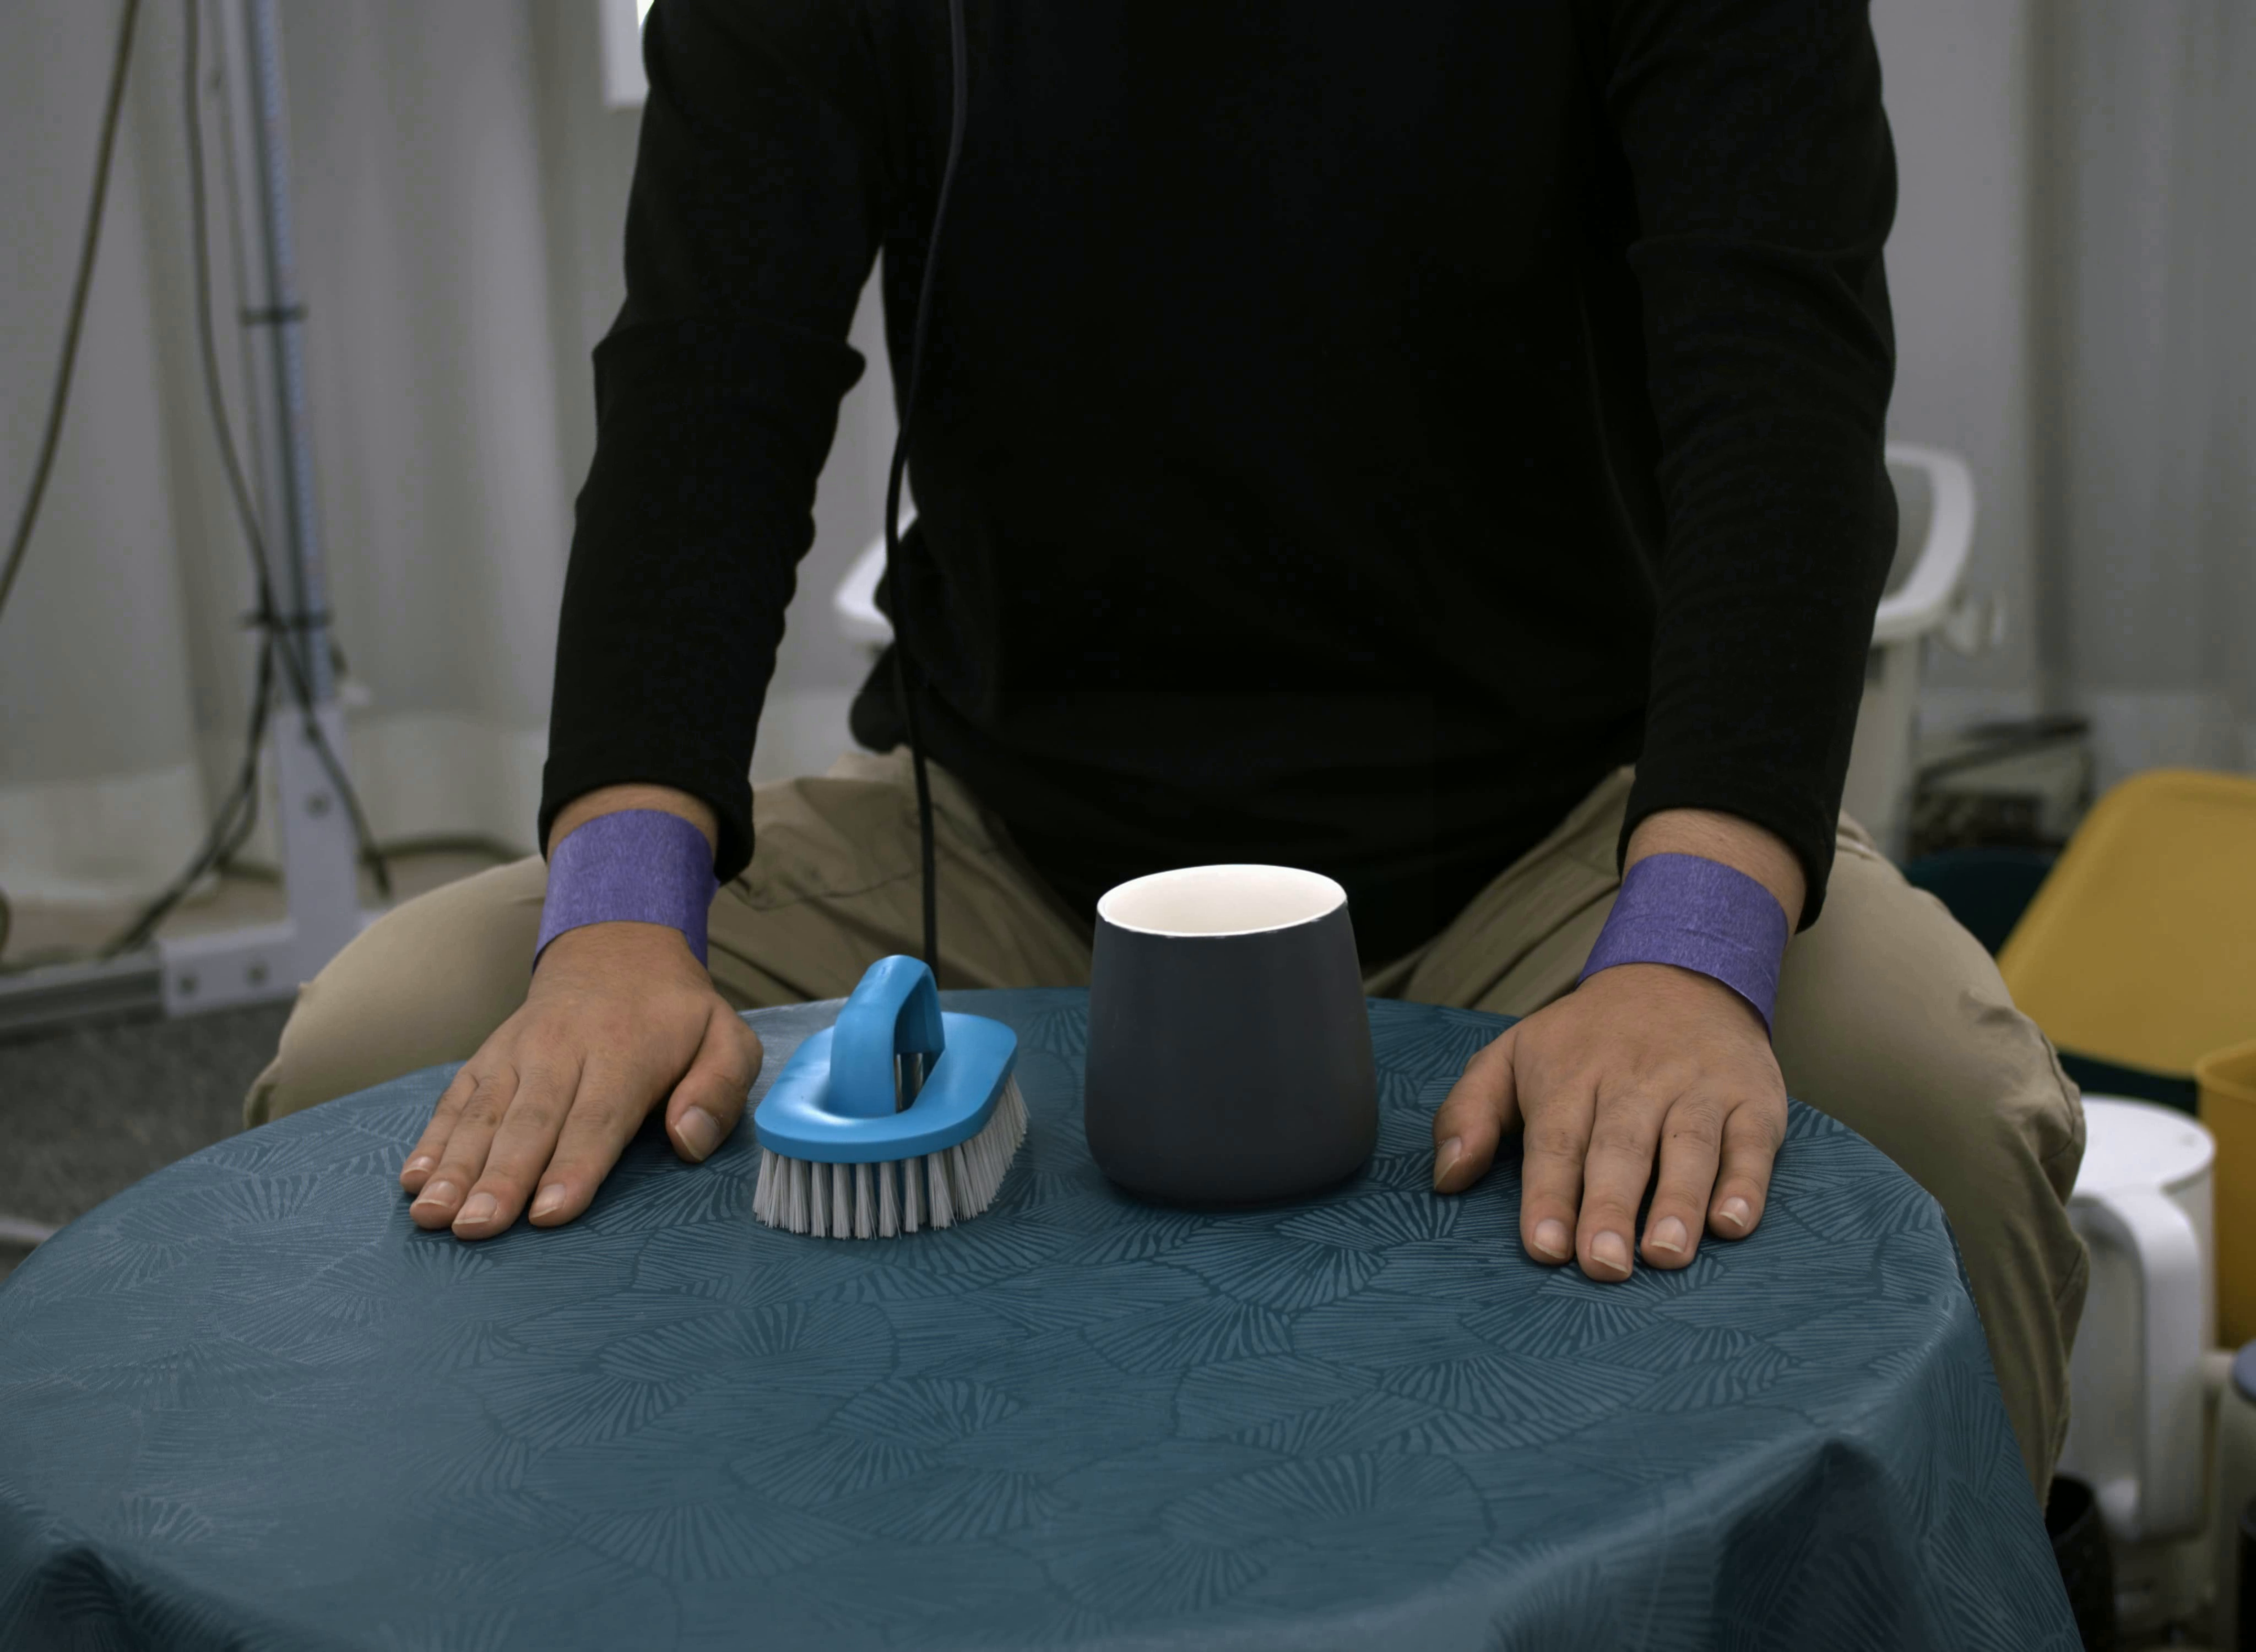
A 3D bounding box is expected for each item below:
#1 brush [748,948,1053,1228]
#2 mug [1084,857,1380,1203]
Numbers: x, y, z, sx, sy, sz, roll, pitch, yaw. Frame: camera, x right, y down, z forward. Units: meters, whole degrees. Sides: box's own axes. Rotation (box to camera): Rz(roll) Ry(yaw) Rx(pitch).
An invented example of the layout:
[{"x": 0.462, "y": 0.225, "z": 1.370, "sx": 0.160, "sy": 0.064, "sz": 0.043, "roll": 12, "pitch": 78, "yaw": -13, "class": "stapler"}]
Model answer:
[{"x": -0.074, "y": 0.077, "z": 1.742, "sx": 0.084, "sy": 0.063, "sz": 0.142, "roll": -5, "pitch": 13, "yaw": 11, "class": "brush"}, {"x": 0.035, "y": 0.060, "z": 1.732, "sx": 0.093, "sy": 0.089, "sz": 0.124, "roll": 1, "pitch": 17, "yaw": 14, "class": "mug"}]
